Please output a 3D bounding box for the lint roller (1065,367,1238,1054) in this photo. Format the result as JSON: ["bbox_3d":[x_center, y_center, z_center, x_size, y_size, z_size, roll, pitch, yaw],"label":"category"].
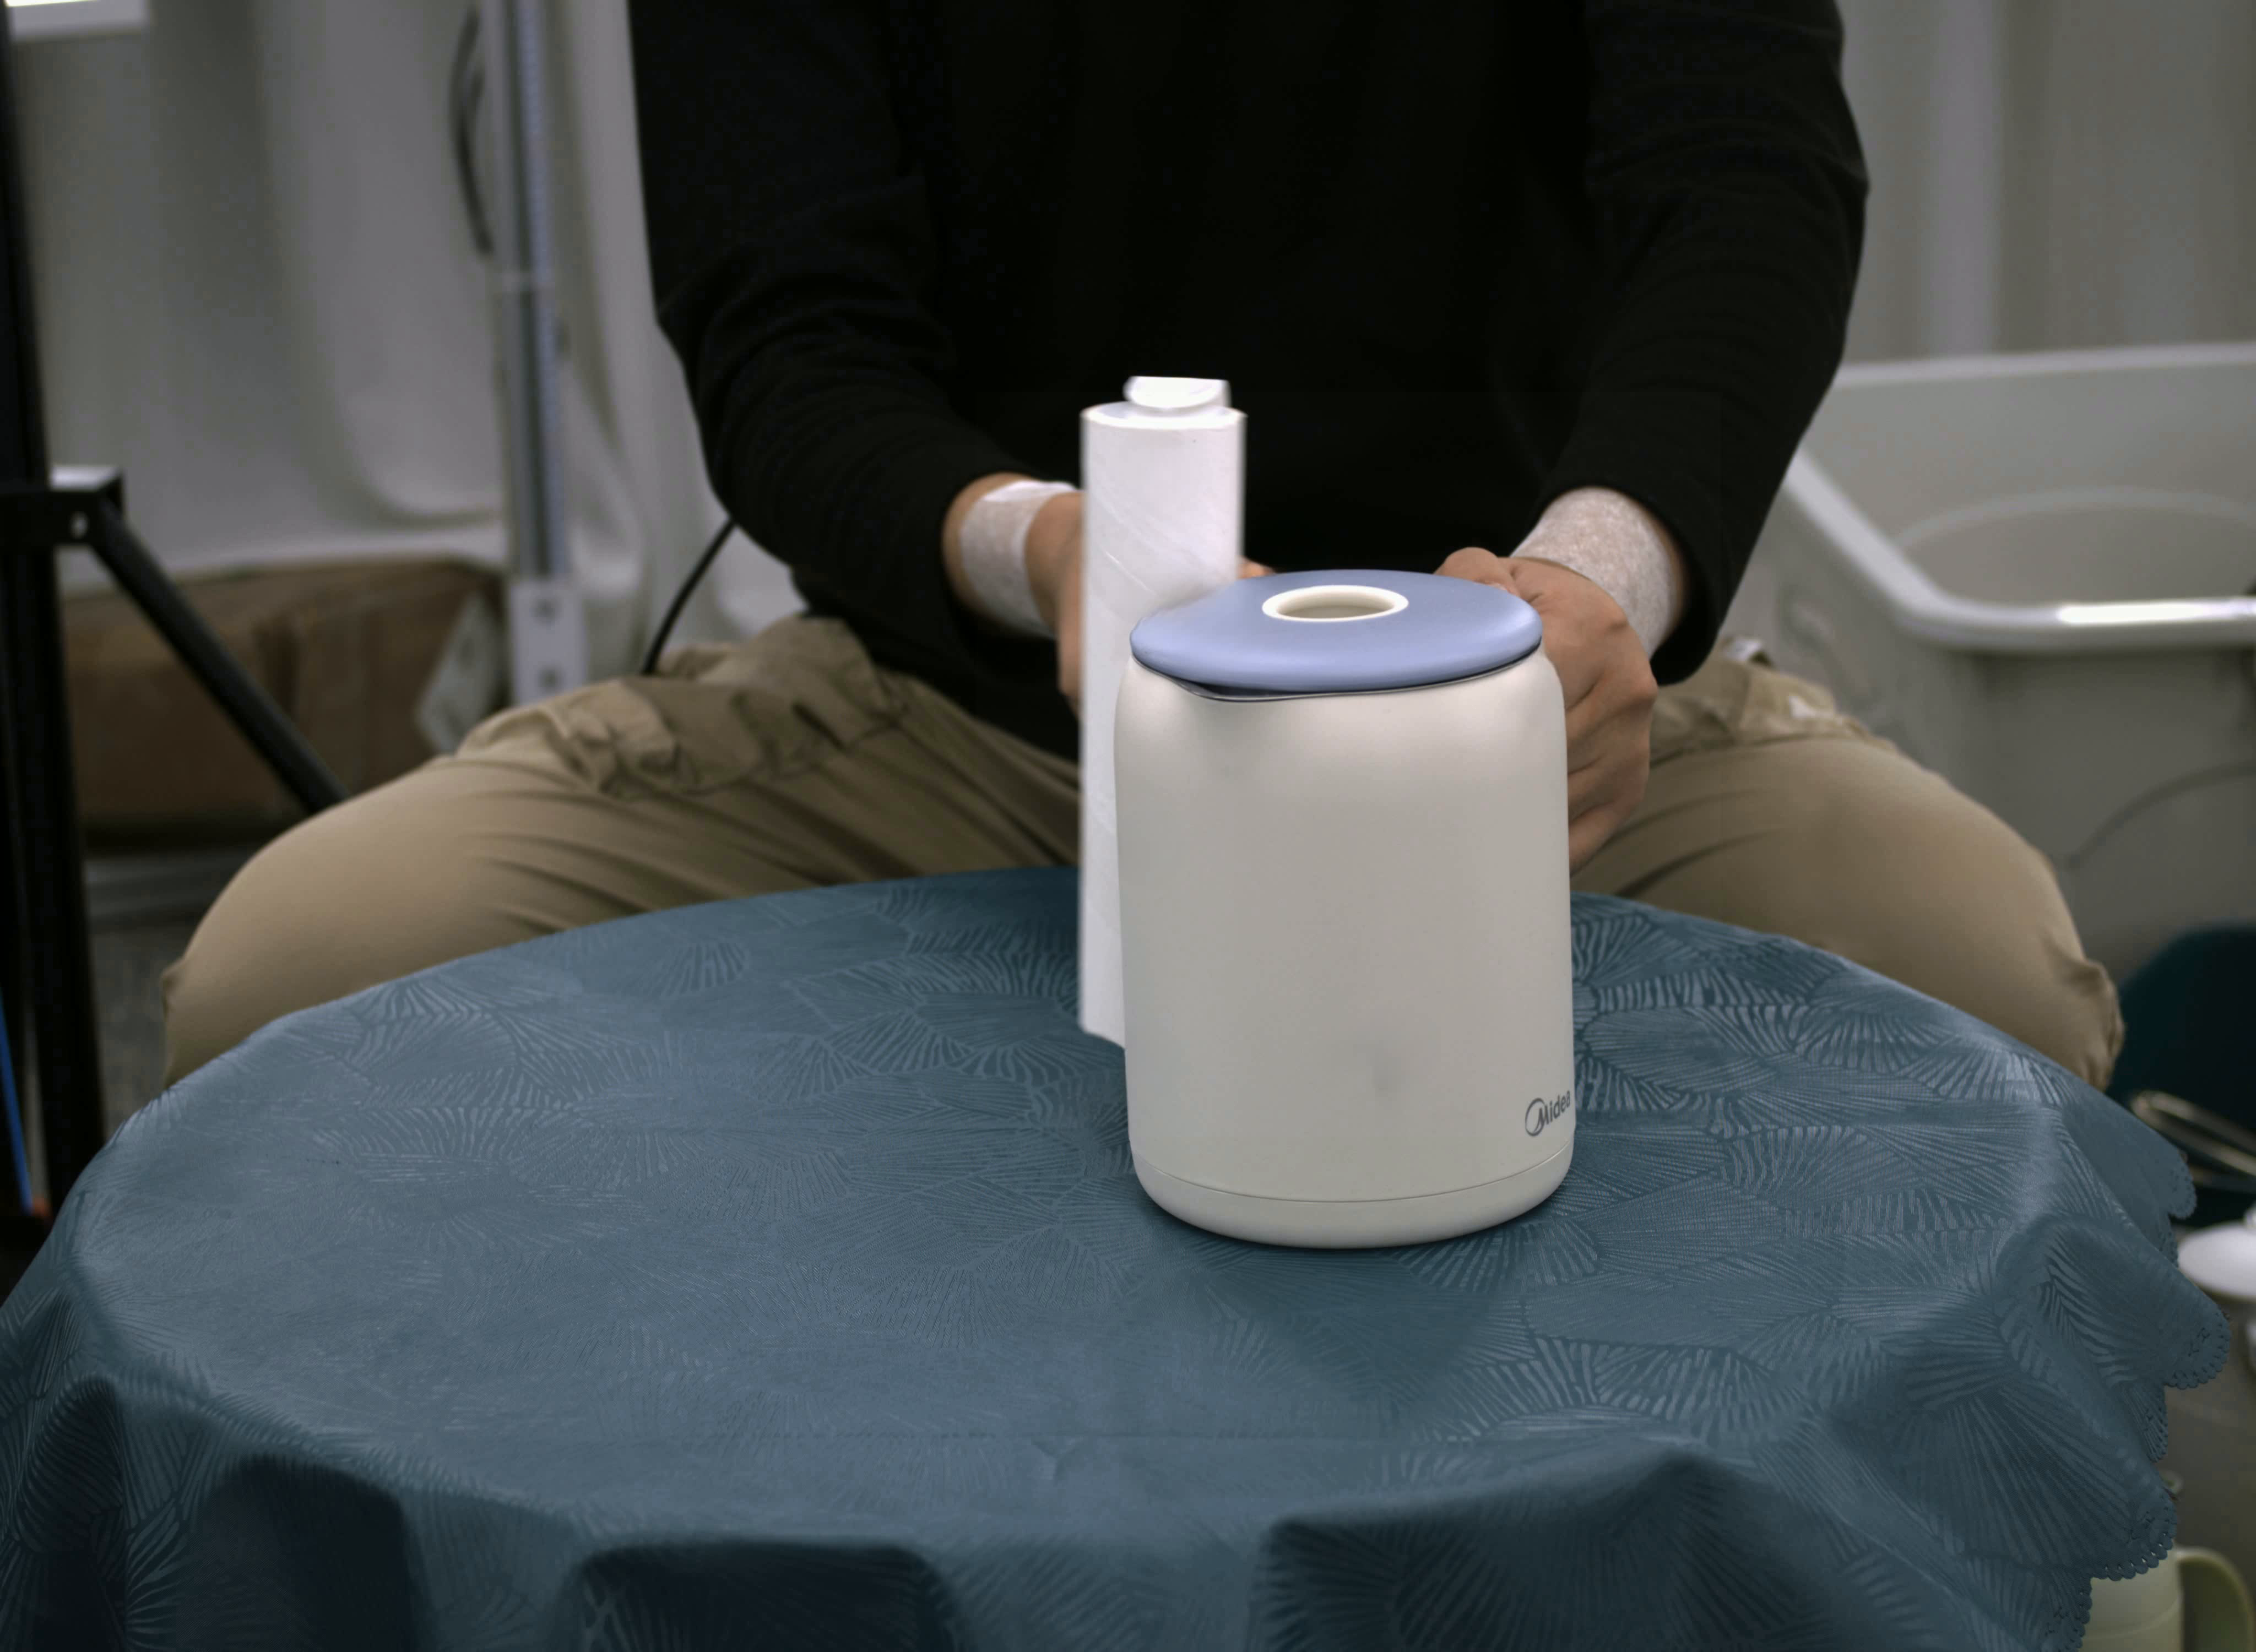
[{"bbox_3d":[0.015,-0.051,1.682,0.048,0.203,0.225,1,12,6],"label":"lint roller"}]

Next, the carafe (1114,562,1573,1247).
[{"bbox_3d":[0.075,0.016,1.555,0.134,0.182,0.187,7,16,29],"label":"carafe"}]
